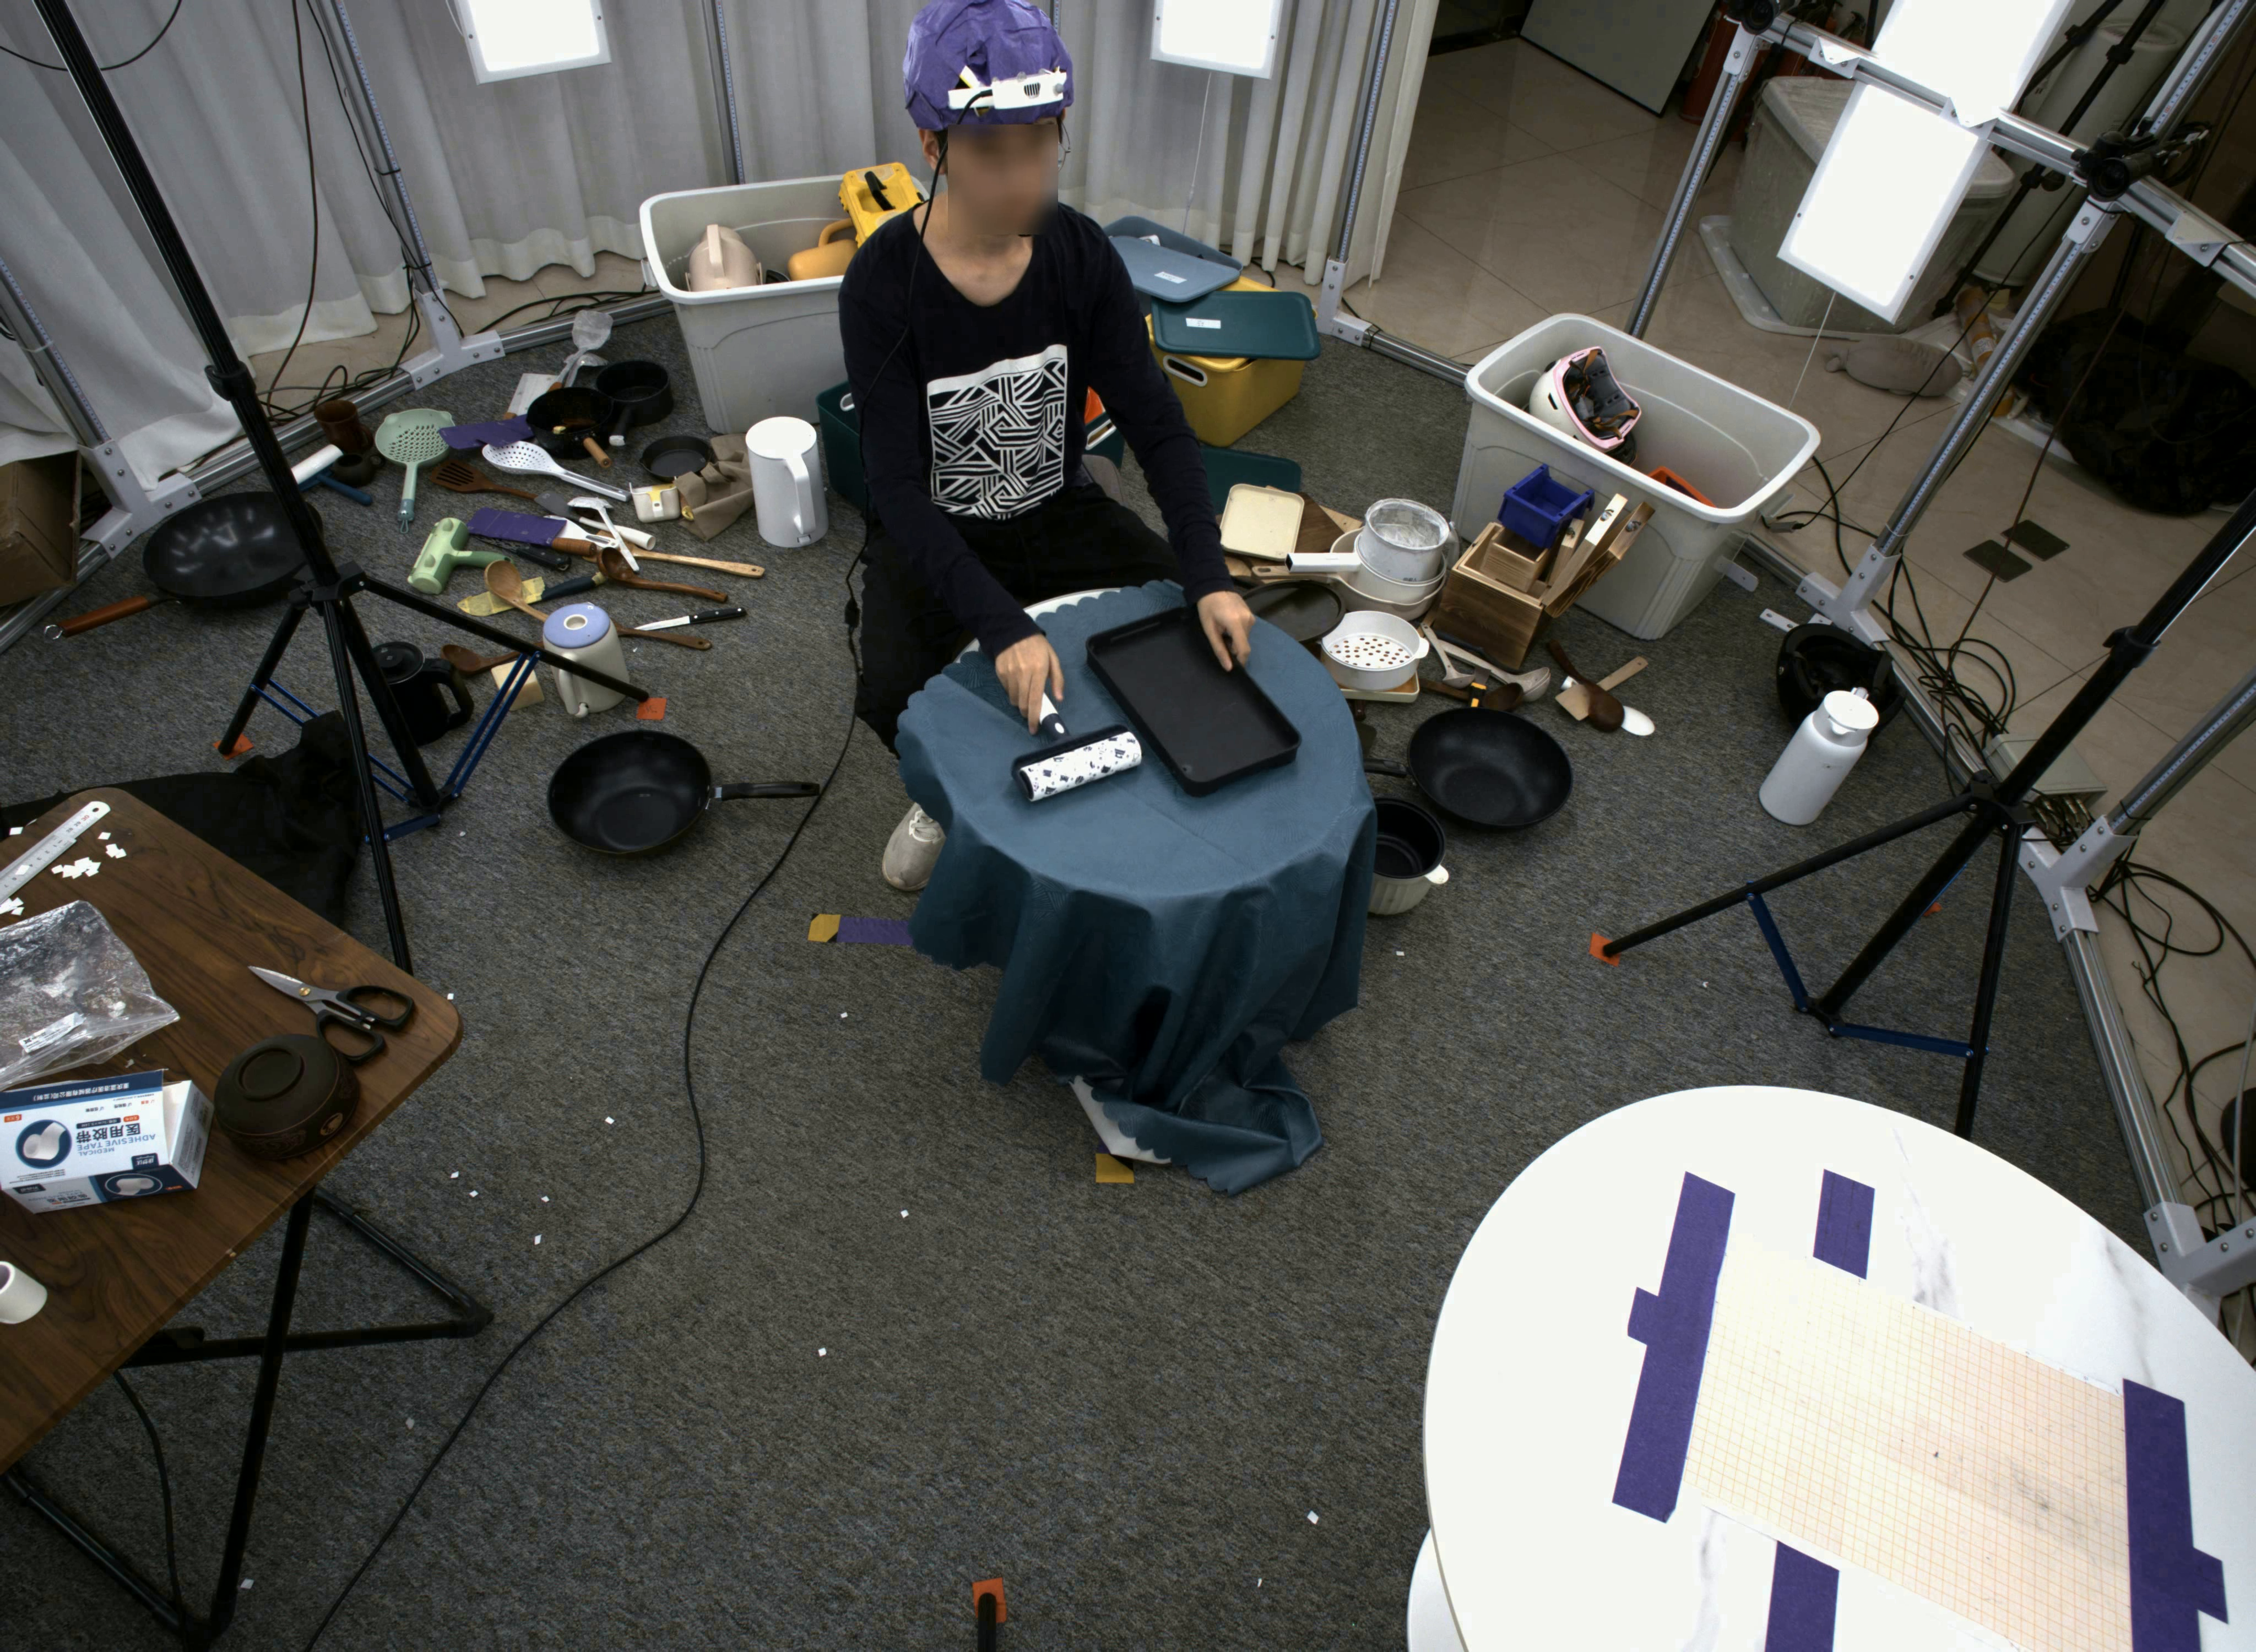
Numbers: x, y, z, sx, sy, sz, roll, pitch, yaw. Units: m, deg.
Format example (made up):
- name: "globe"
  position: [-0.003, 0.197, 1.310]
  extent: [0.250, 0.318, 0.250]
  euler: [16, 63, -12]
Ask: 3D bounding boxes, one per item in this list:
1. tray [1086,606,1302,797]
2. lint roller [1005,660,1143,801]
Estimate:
- name: "tray"
  position: [0.088, -0.182, 1.808]
  extent: [0.185, 0.036, 0.325]
  euler: [-21, 54, -20]
- name: "lint roller"
  position: [-0.112, -0.151, 1.757]
  extent: [0.177, 0.049, 0.252]
  euler: [-21, 54, -19]
